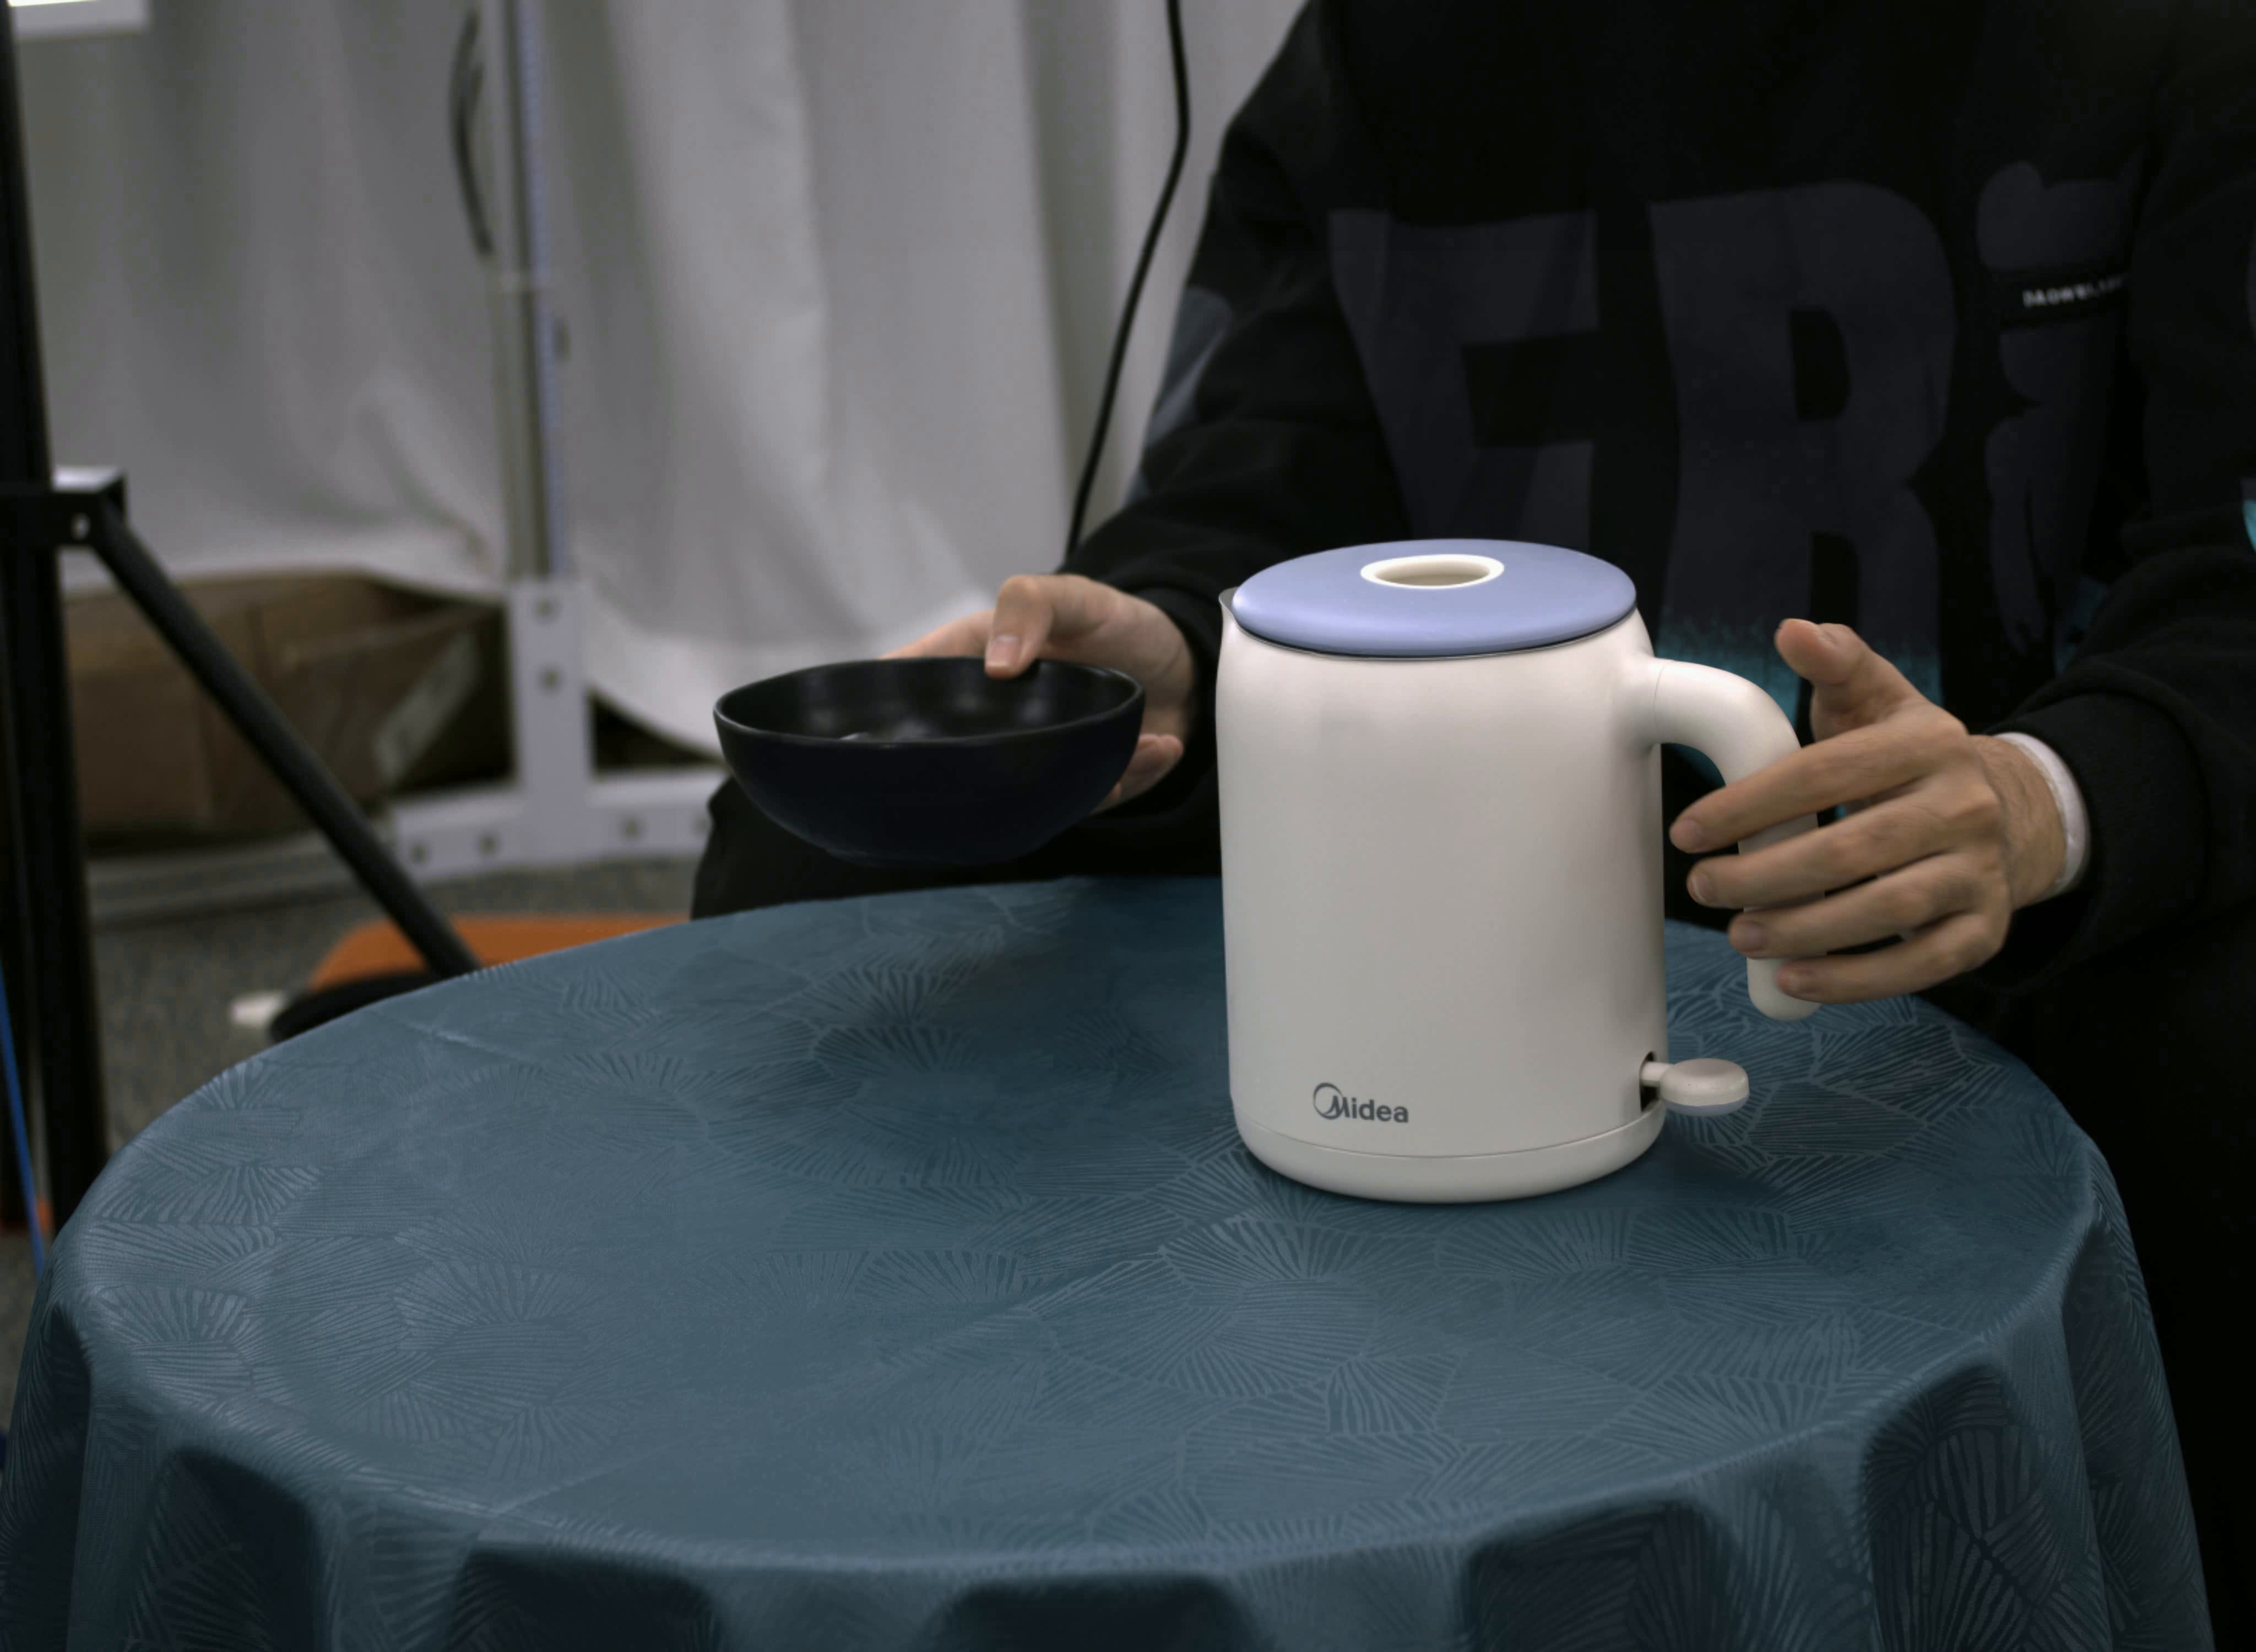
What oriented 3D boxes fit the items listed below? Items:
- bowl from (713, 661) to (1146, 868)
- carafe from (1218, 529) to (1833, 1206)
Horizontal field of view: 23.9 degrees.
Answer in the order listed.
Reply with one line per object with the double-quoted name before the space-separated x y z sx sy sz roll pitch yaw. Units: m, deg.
"bowl" -0.063 -0.017 1.701 0.139 0.050 0.140 -1 11 -1
"carafe" 0.115 0.015 1.556 0.194 0.182 0.130 8 19 26
